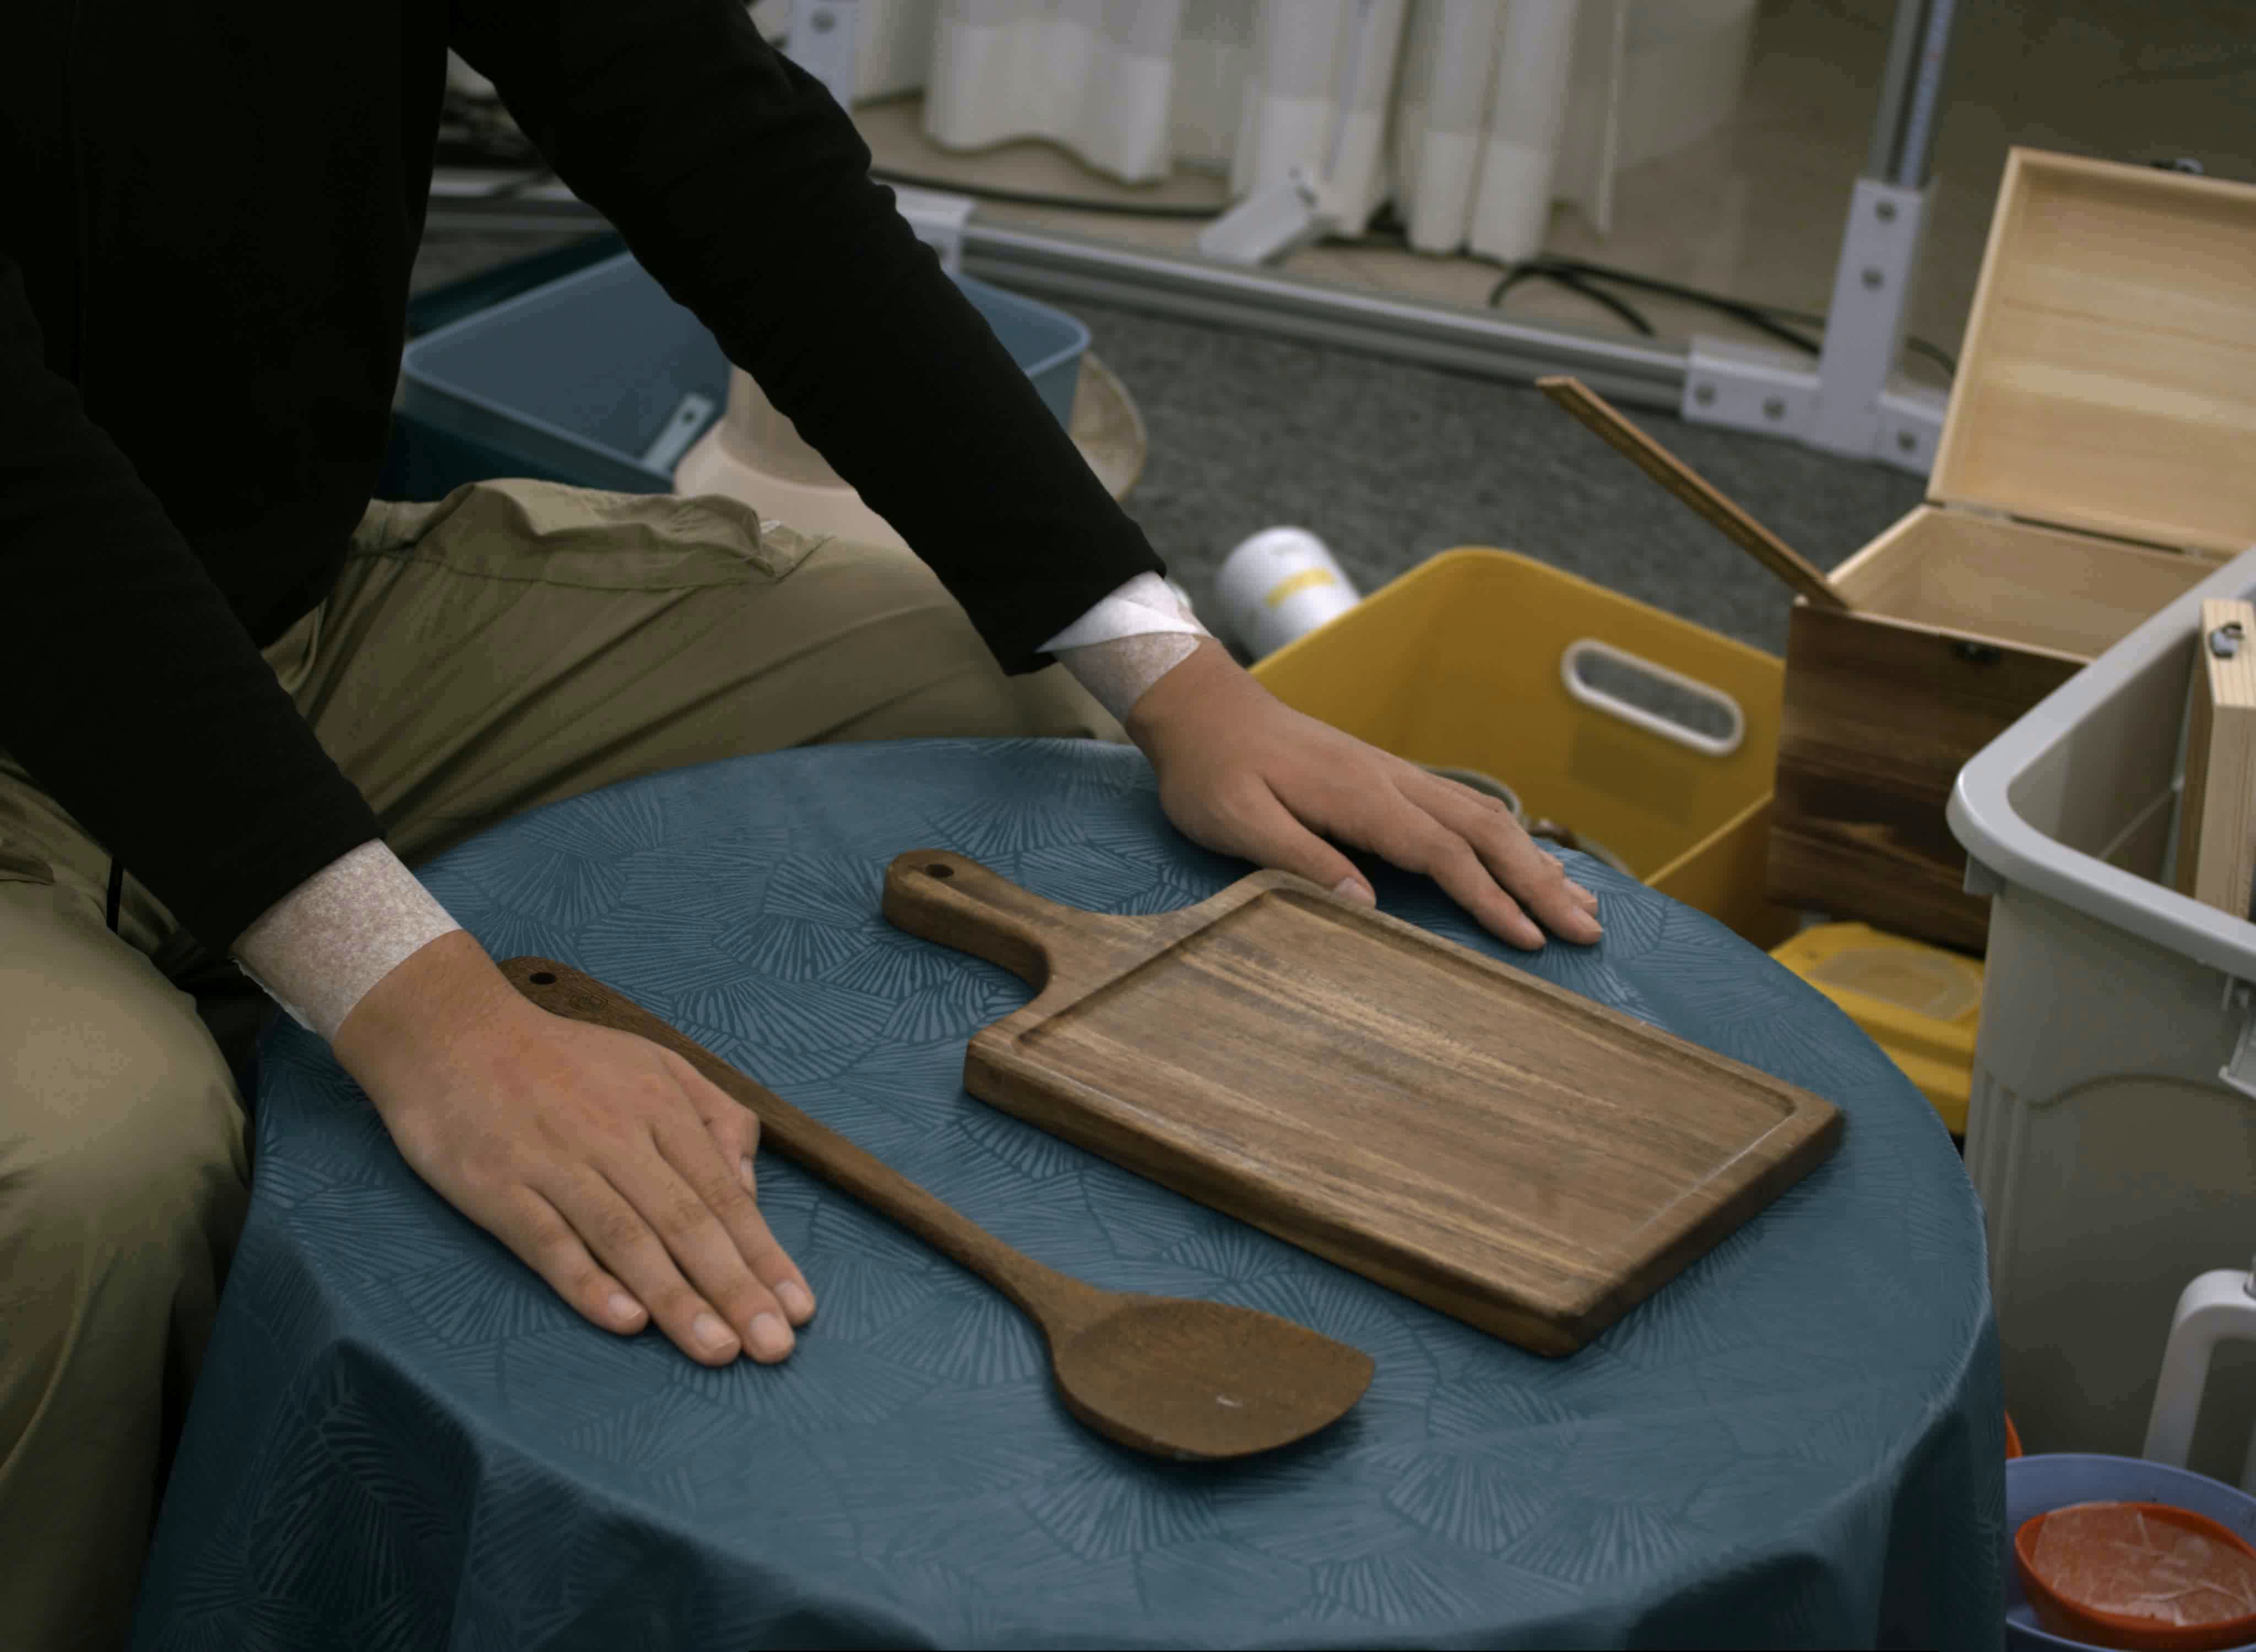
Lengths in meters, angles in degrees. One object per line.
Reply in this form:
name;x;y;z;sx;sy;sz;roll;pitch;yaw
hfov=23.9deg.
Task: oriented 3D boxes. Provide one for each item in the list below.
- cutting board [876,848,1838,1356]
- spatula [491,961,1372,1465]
cutting board;0.056;0.077;1.882;0.354;0.023;0.200;23;31;28
spatula;-0.083;0.121;1.773;0.389;0.016;0.095;28;33;36
